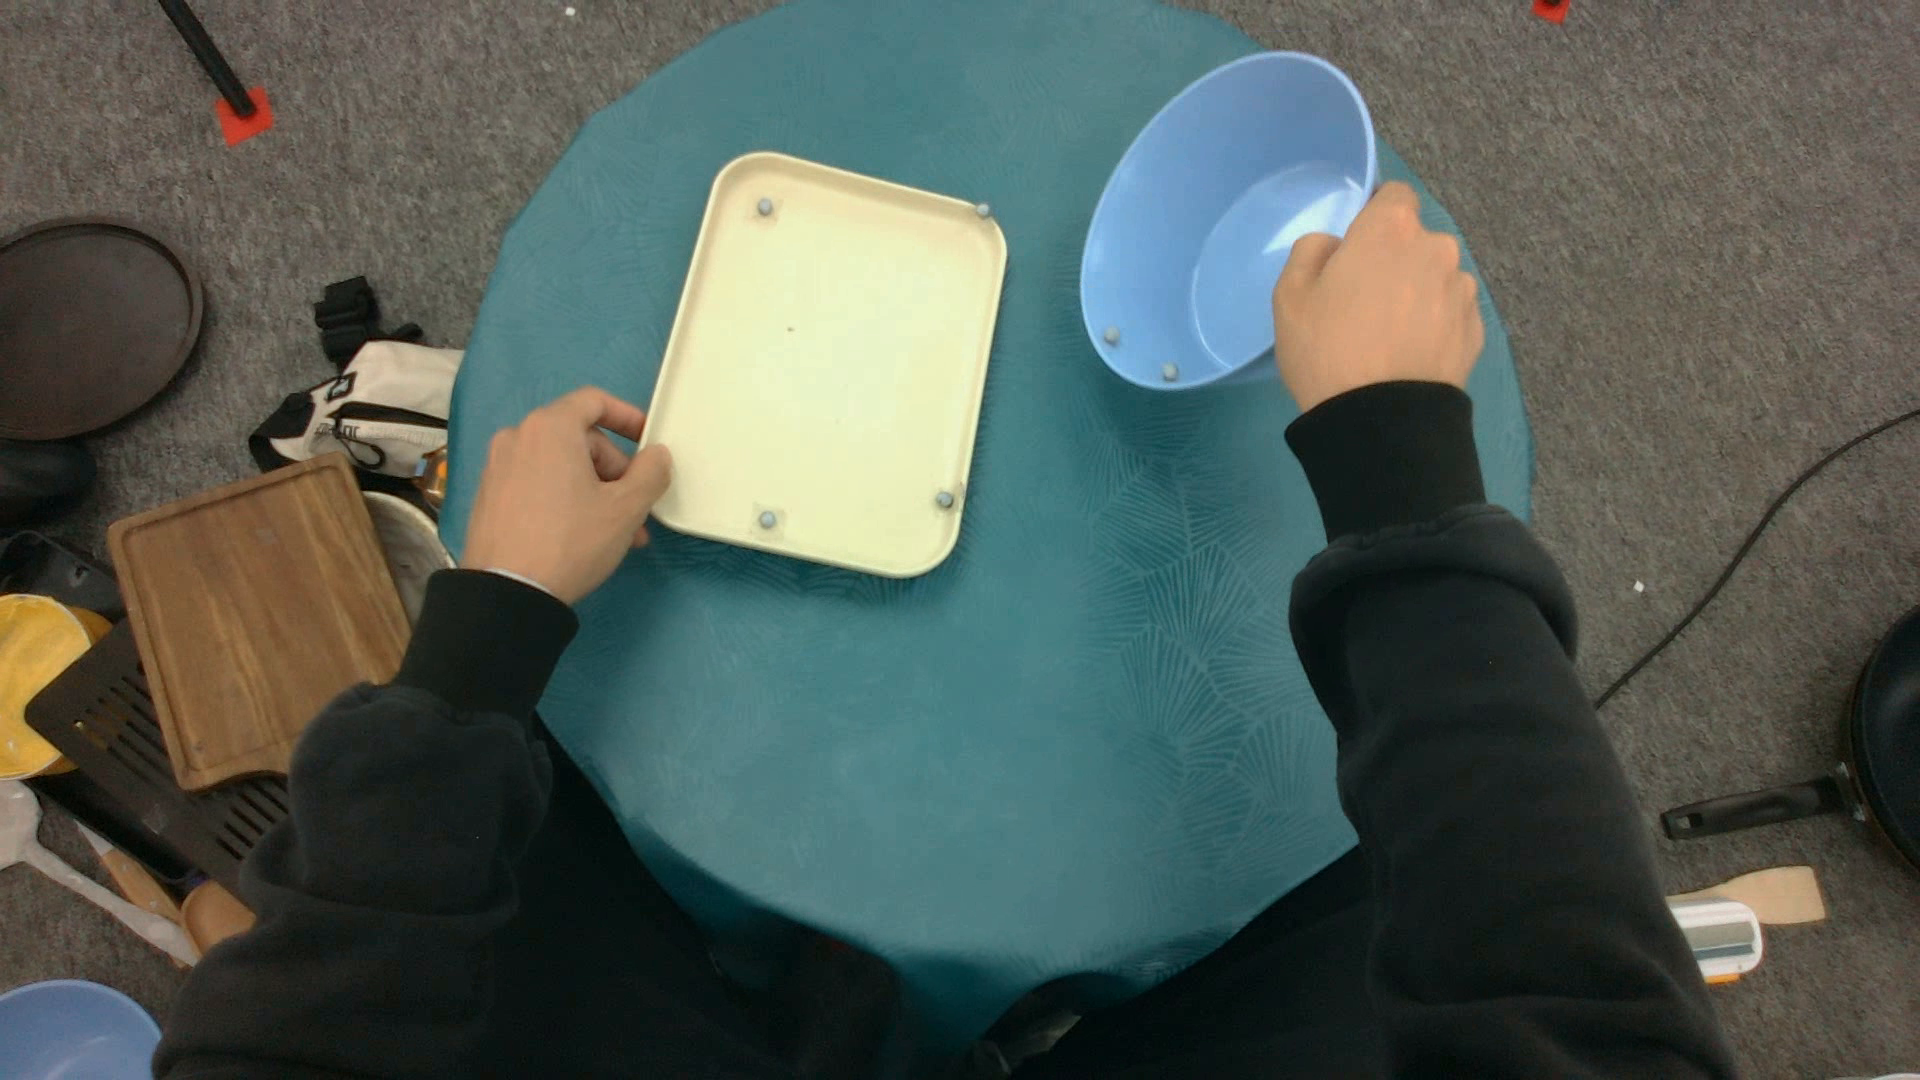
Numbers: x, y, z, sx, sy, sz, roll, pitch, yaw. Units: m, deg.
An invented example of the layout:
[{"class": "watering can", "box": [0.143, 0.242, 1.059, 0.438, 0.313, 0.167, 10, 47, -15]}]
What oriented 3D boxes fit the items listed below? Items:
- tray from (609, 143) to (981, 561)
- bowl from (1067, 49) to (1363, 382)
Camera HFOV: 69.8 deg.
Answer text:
[{"class": "tray", "box": [-0.084, -0.106, 0.747, 0.171, 0.017, 0.240, 11, 65, -5]}, {"class": "bowl", "box": [0.140, -0.156, 0.713, 0.070, 0.175, 0.176, 19, 64, -38]}]
